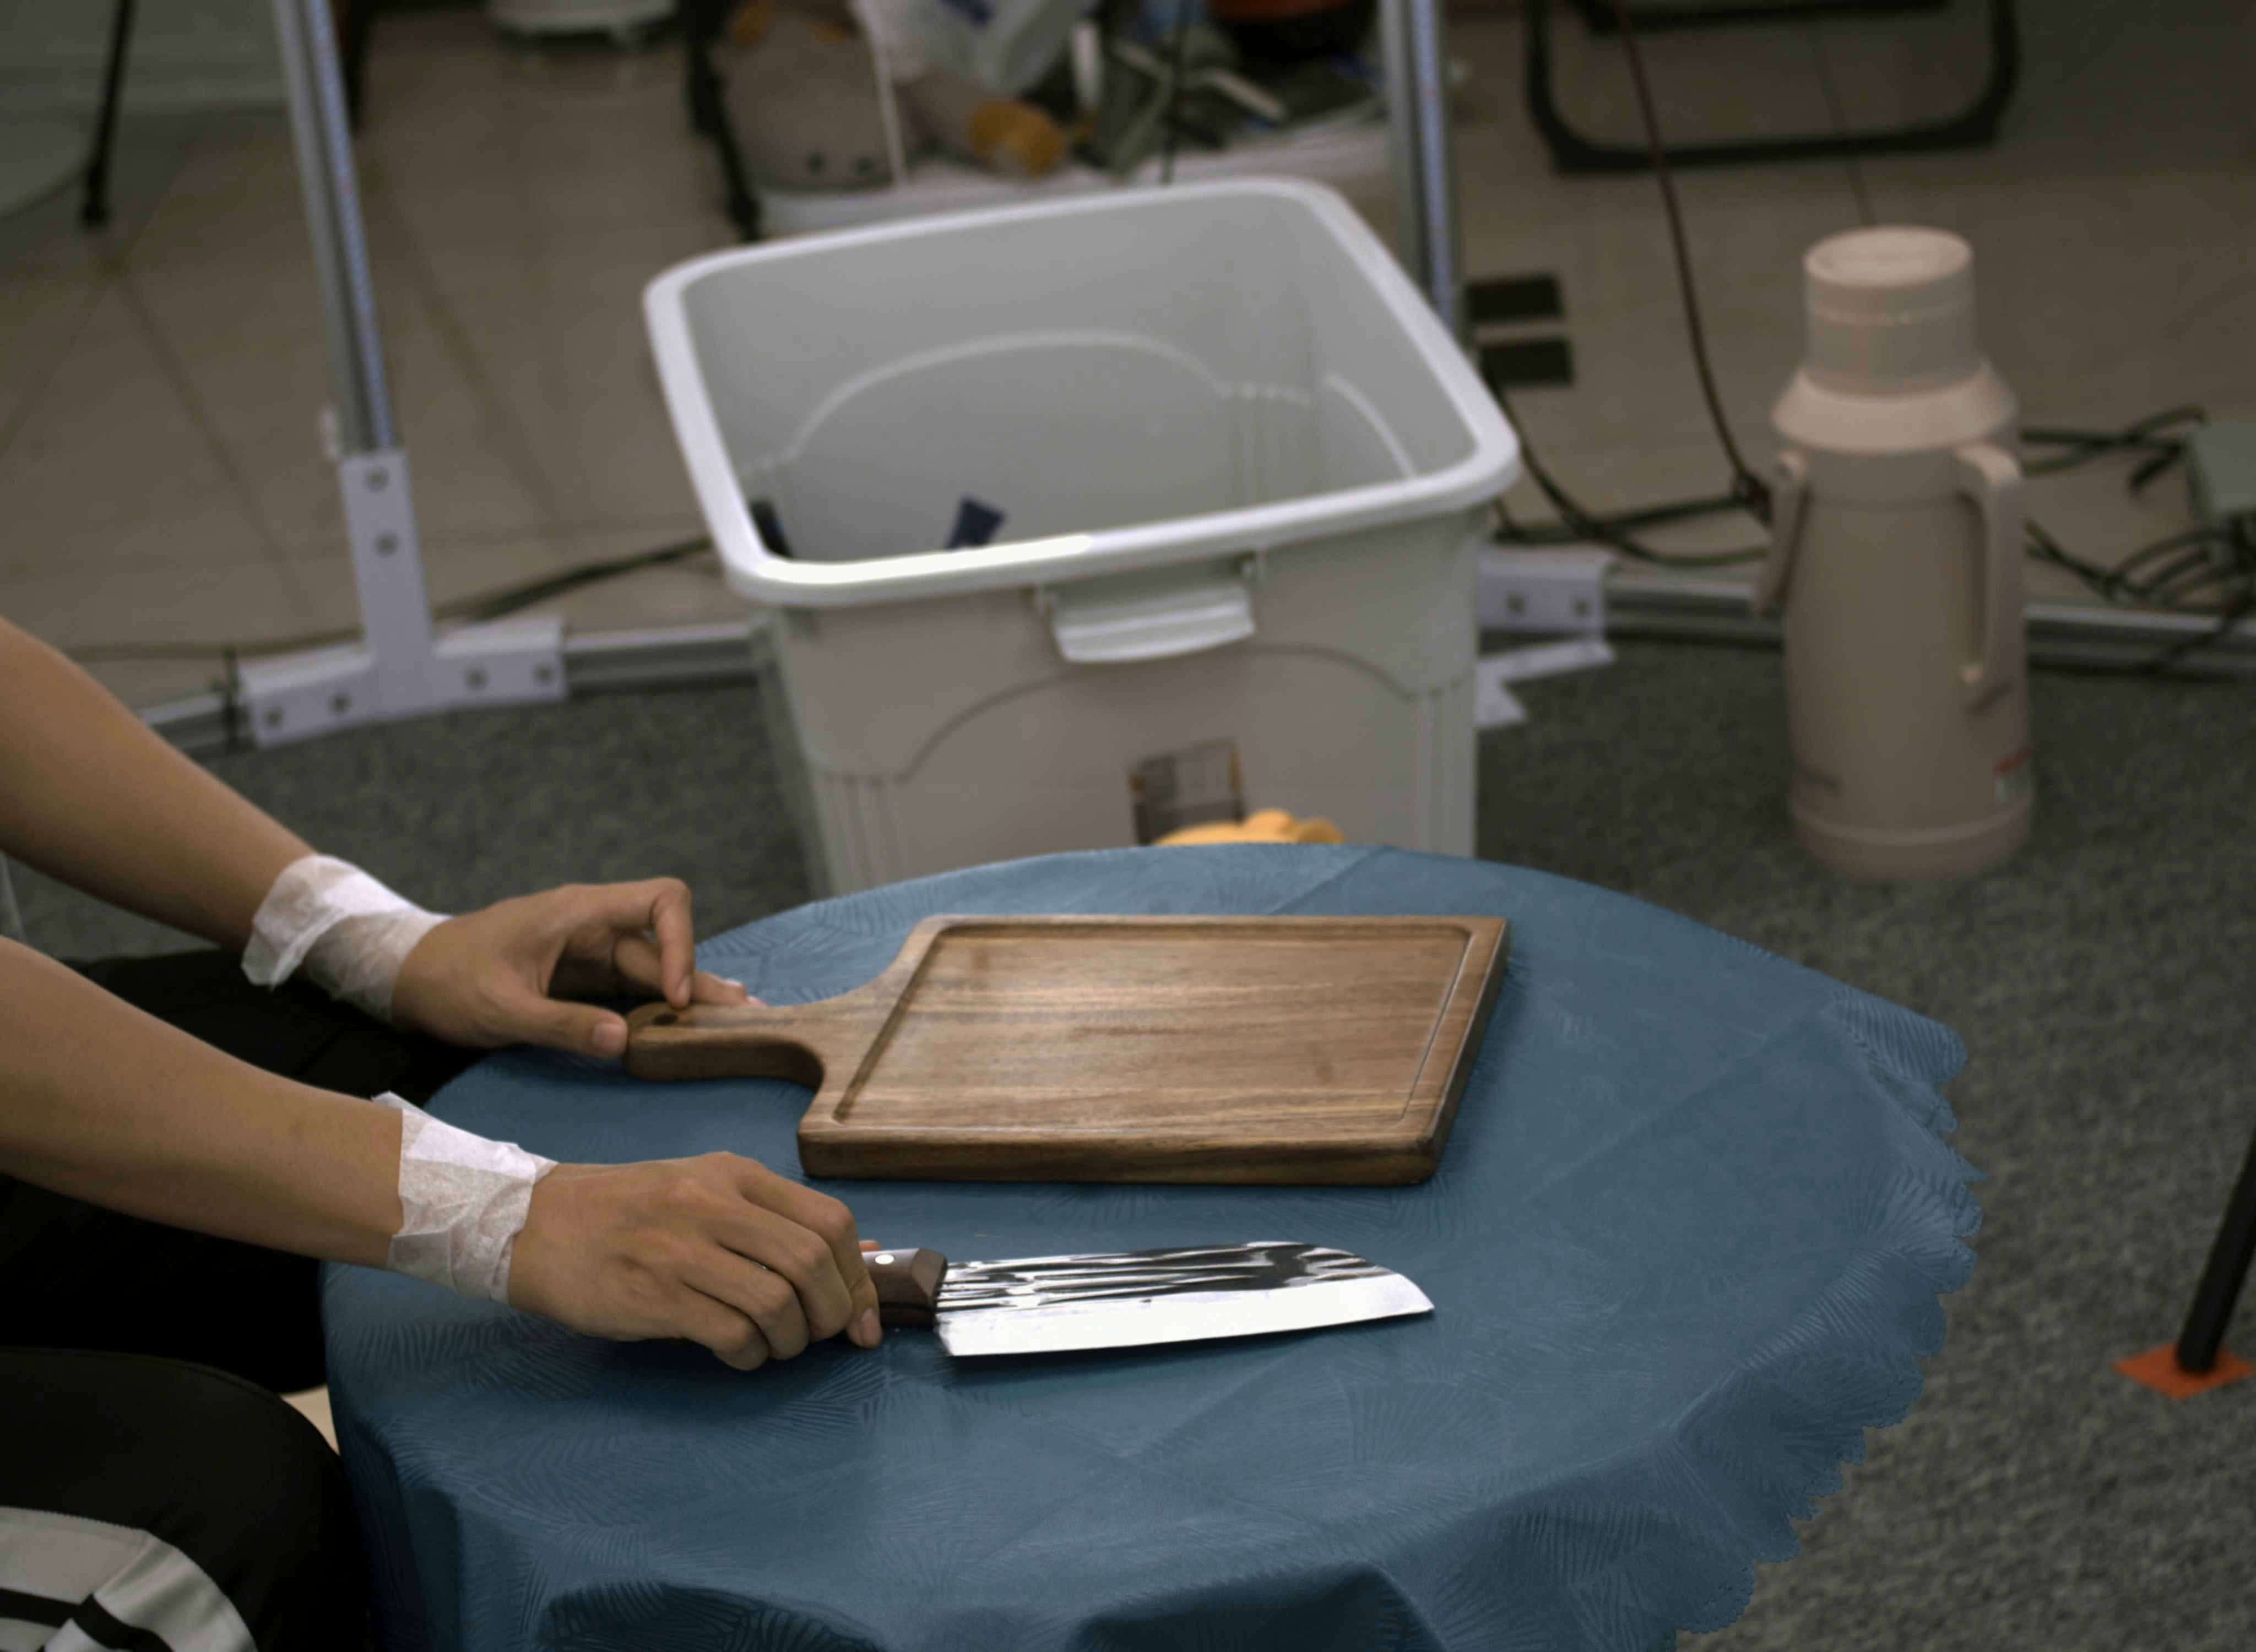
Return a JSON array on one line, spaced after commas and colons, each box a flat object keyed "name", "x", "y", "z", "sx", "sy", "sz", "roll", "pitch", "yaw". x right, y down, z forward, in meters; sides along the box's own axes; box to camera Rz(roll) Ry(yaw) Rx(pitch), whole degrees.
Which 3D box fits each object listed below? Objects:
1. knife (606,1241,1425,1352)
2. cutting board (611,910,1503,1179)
[{"name": "knife", "x": -0.043, "y": 0.173, "z": 2.064, "sx": 0.299, "sy": 0.024, "sz": 0.067, "roll": -3, "pitch": 25, "yaw": 1}, {"name": "cutting board", "x": -0.036, "y": 0.085, "z": 2.251, "sx": 0.351, "sy": 0.023, "sz": 0.198, "roll": -1, "pitch": 25, "yaw": 14}]
